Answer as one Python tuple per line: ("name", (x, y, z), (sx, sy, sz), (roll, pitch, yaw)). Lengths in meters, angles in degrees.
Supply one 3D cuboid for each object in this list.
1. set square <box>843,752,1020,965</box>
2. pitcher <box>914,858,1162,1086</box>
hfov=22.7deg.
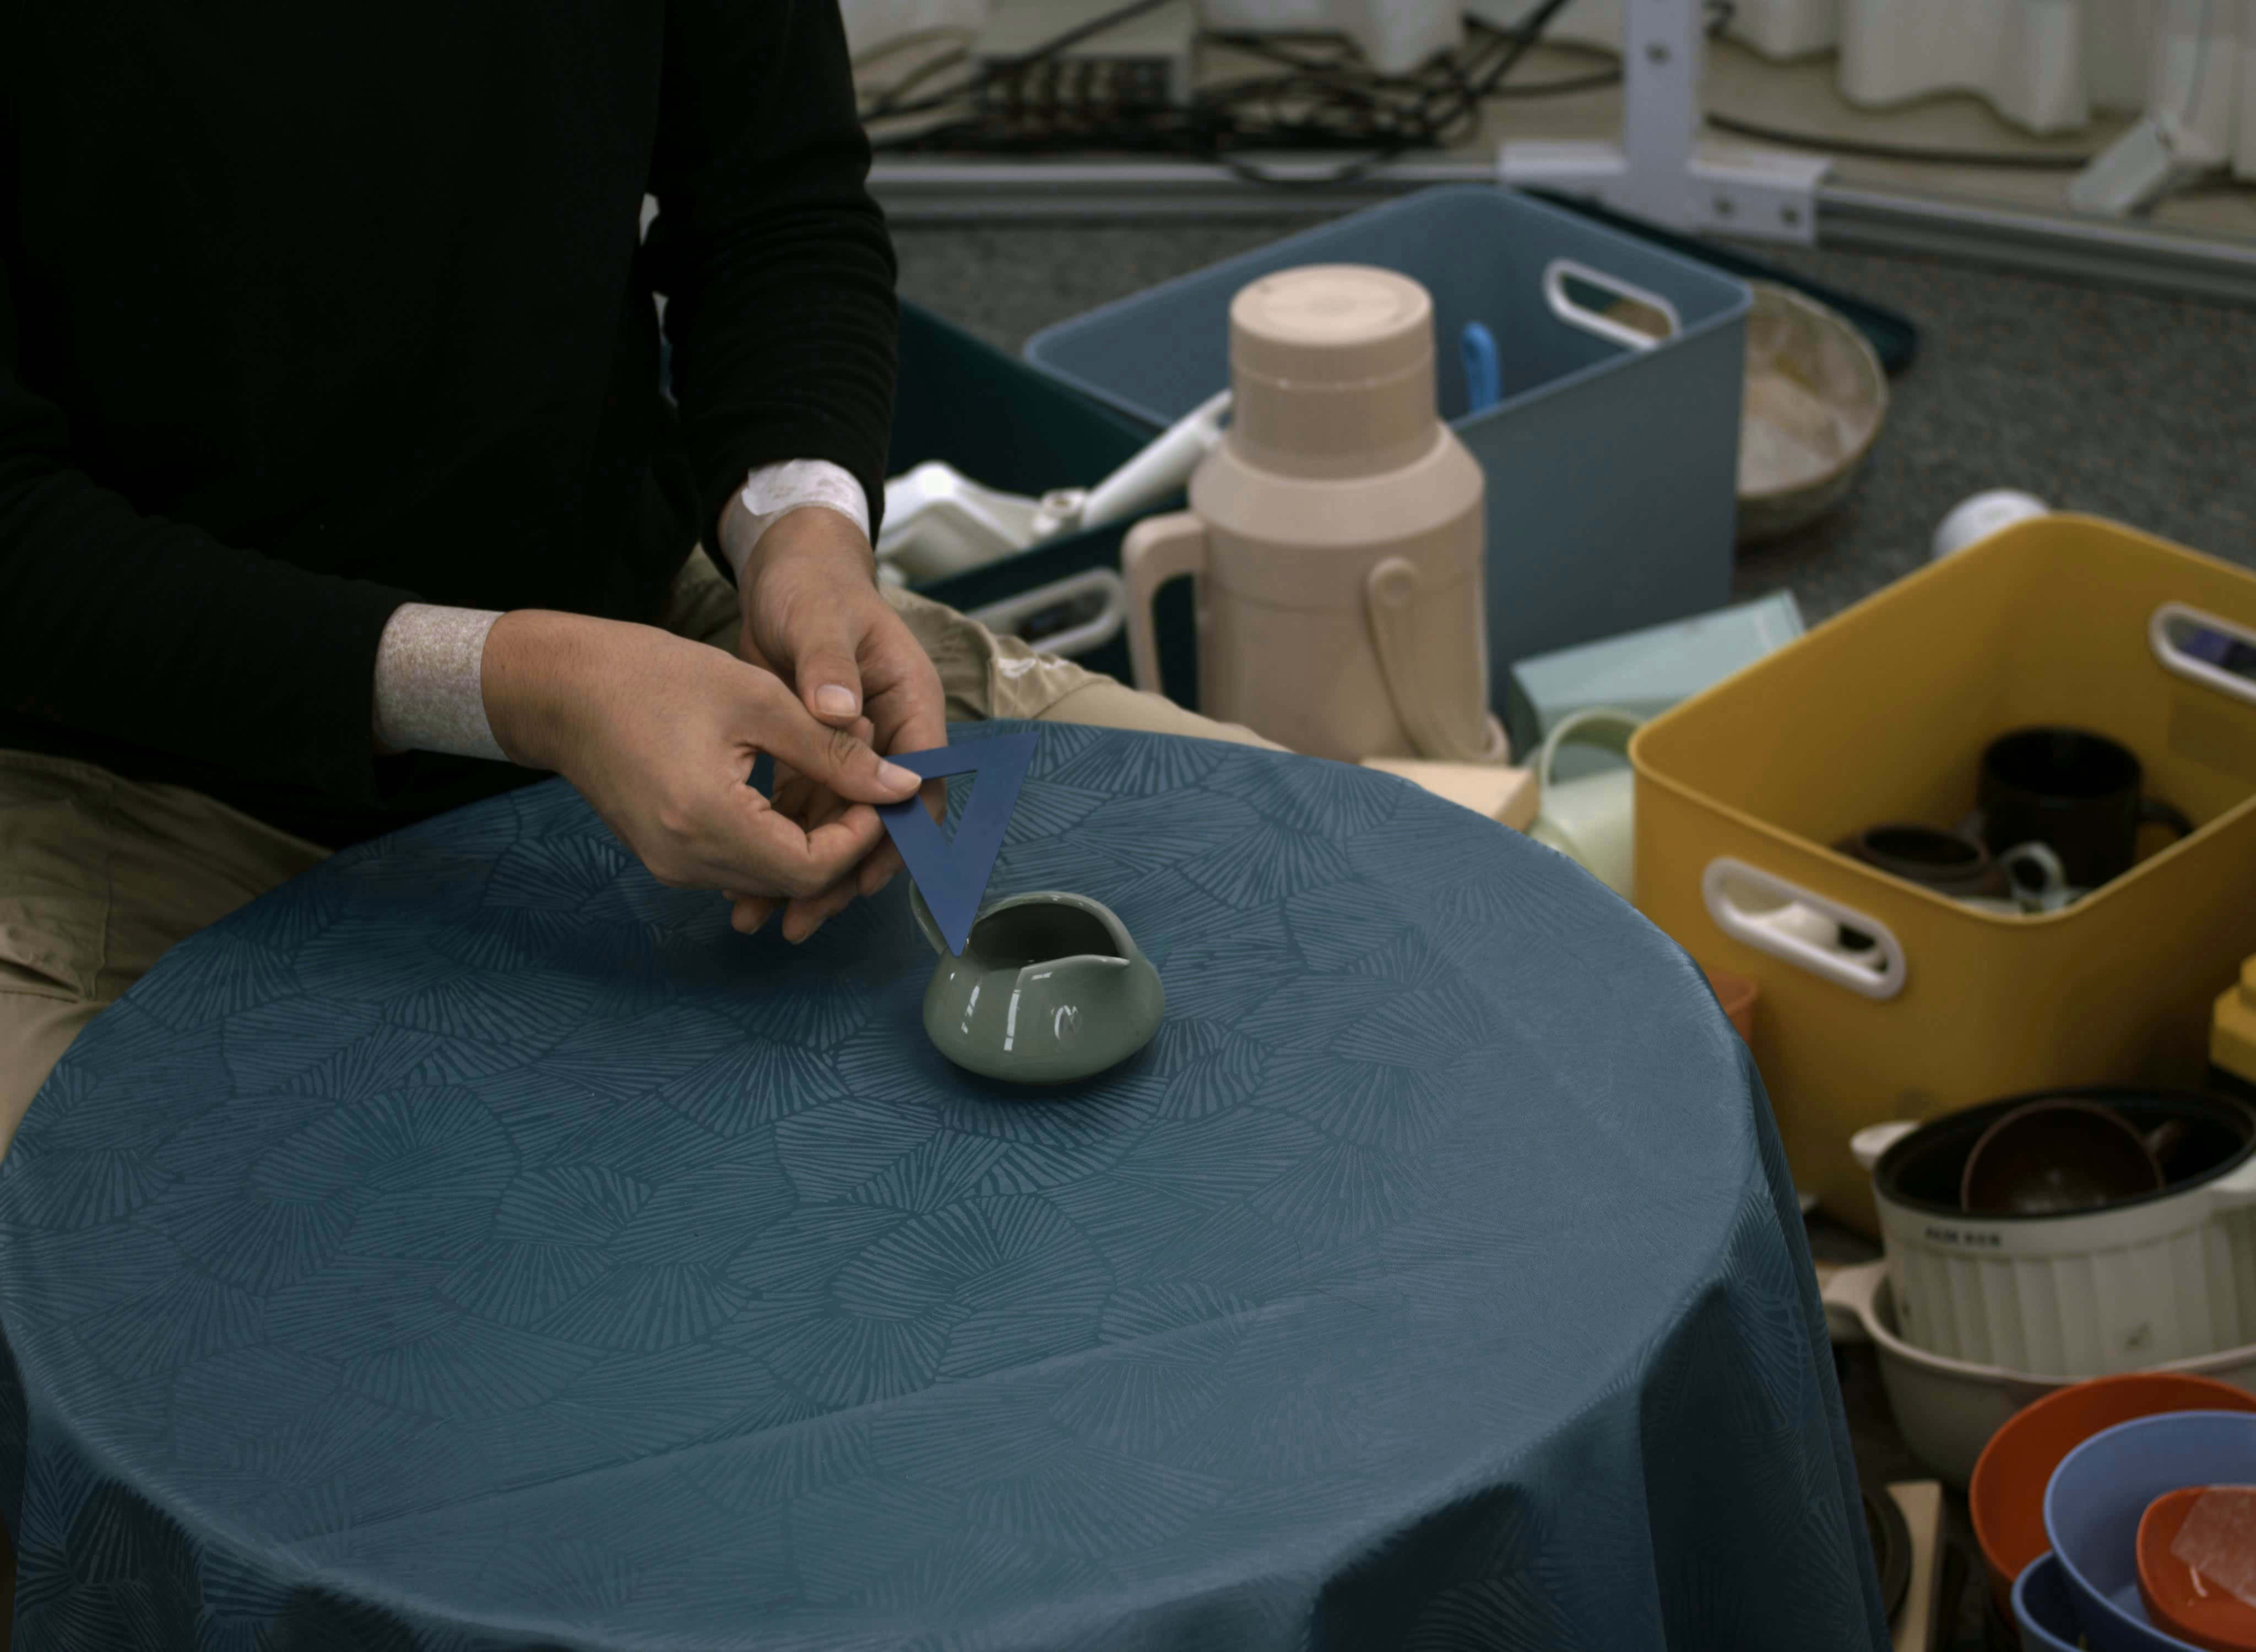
("set square", (-0.081, 0.006, 1.962), (0.061, 0.006, 0.134), (10, 36, 10))
("pitcher", (-0.035, 0.051, 1.941), (0.085, 0.055, 0.112), (-24, 34, -39))
